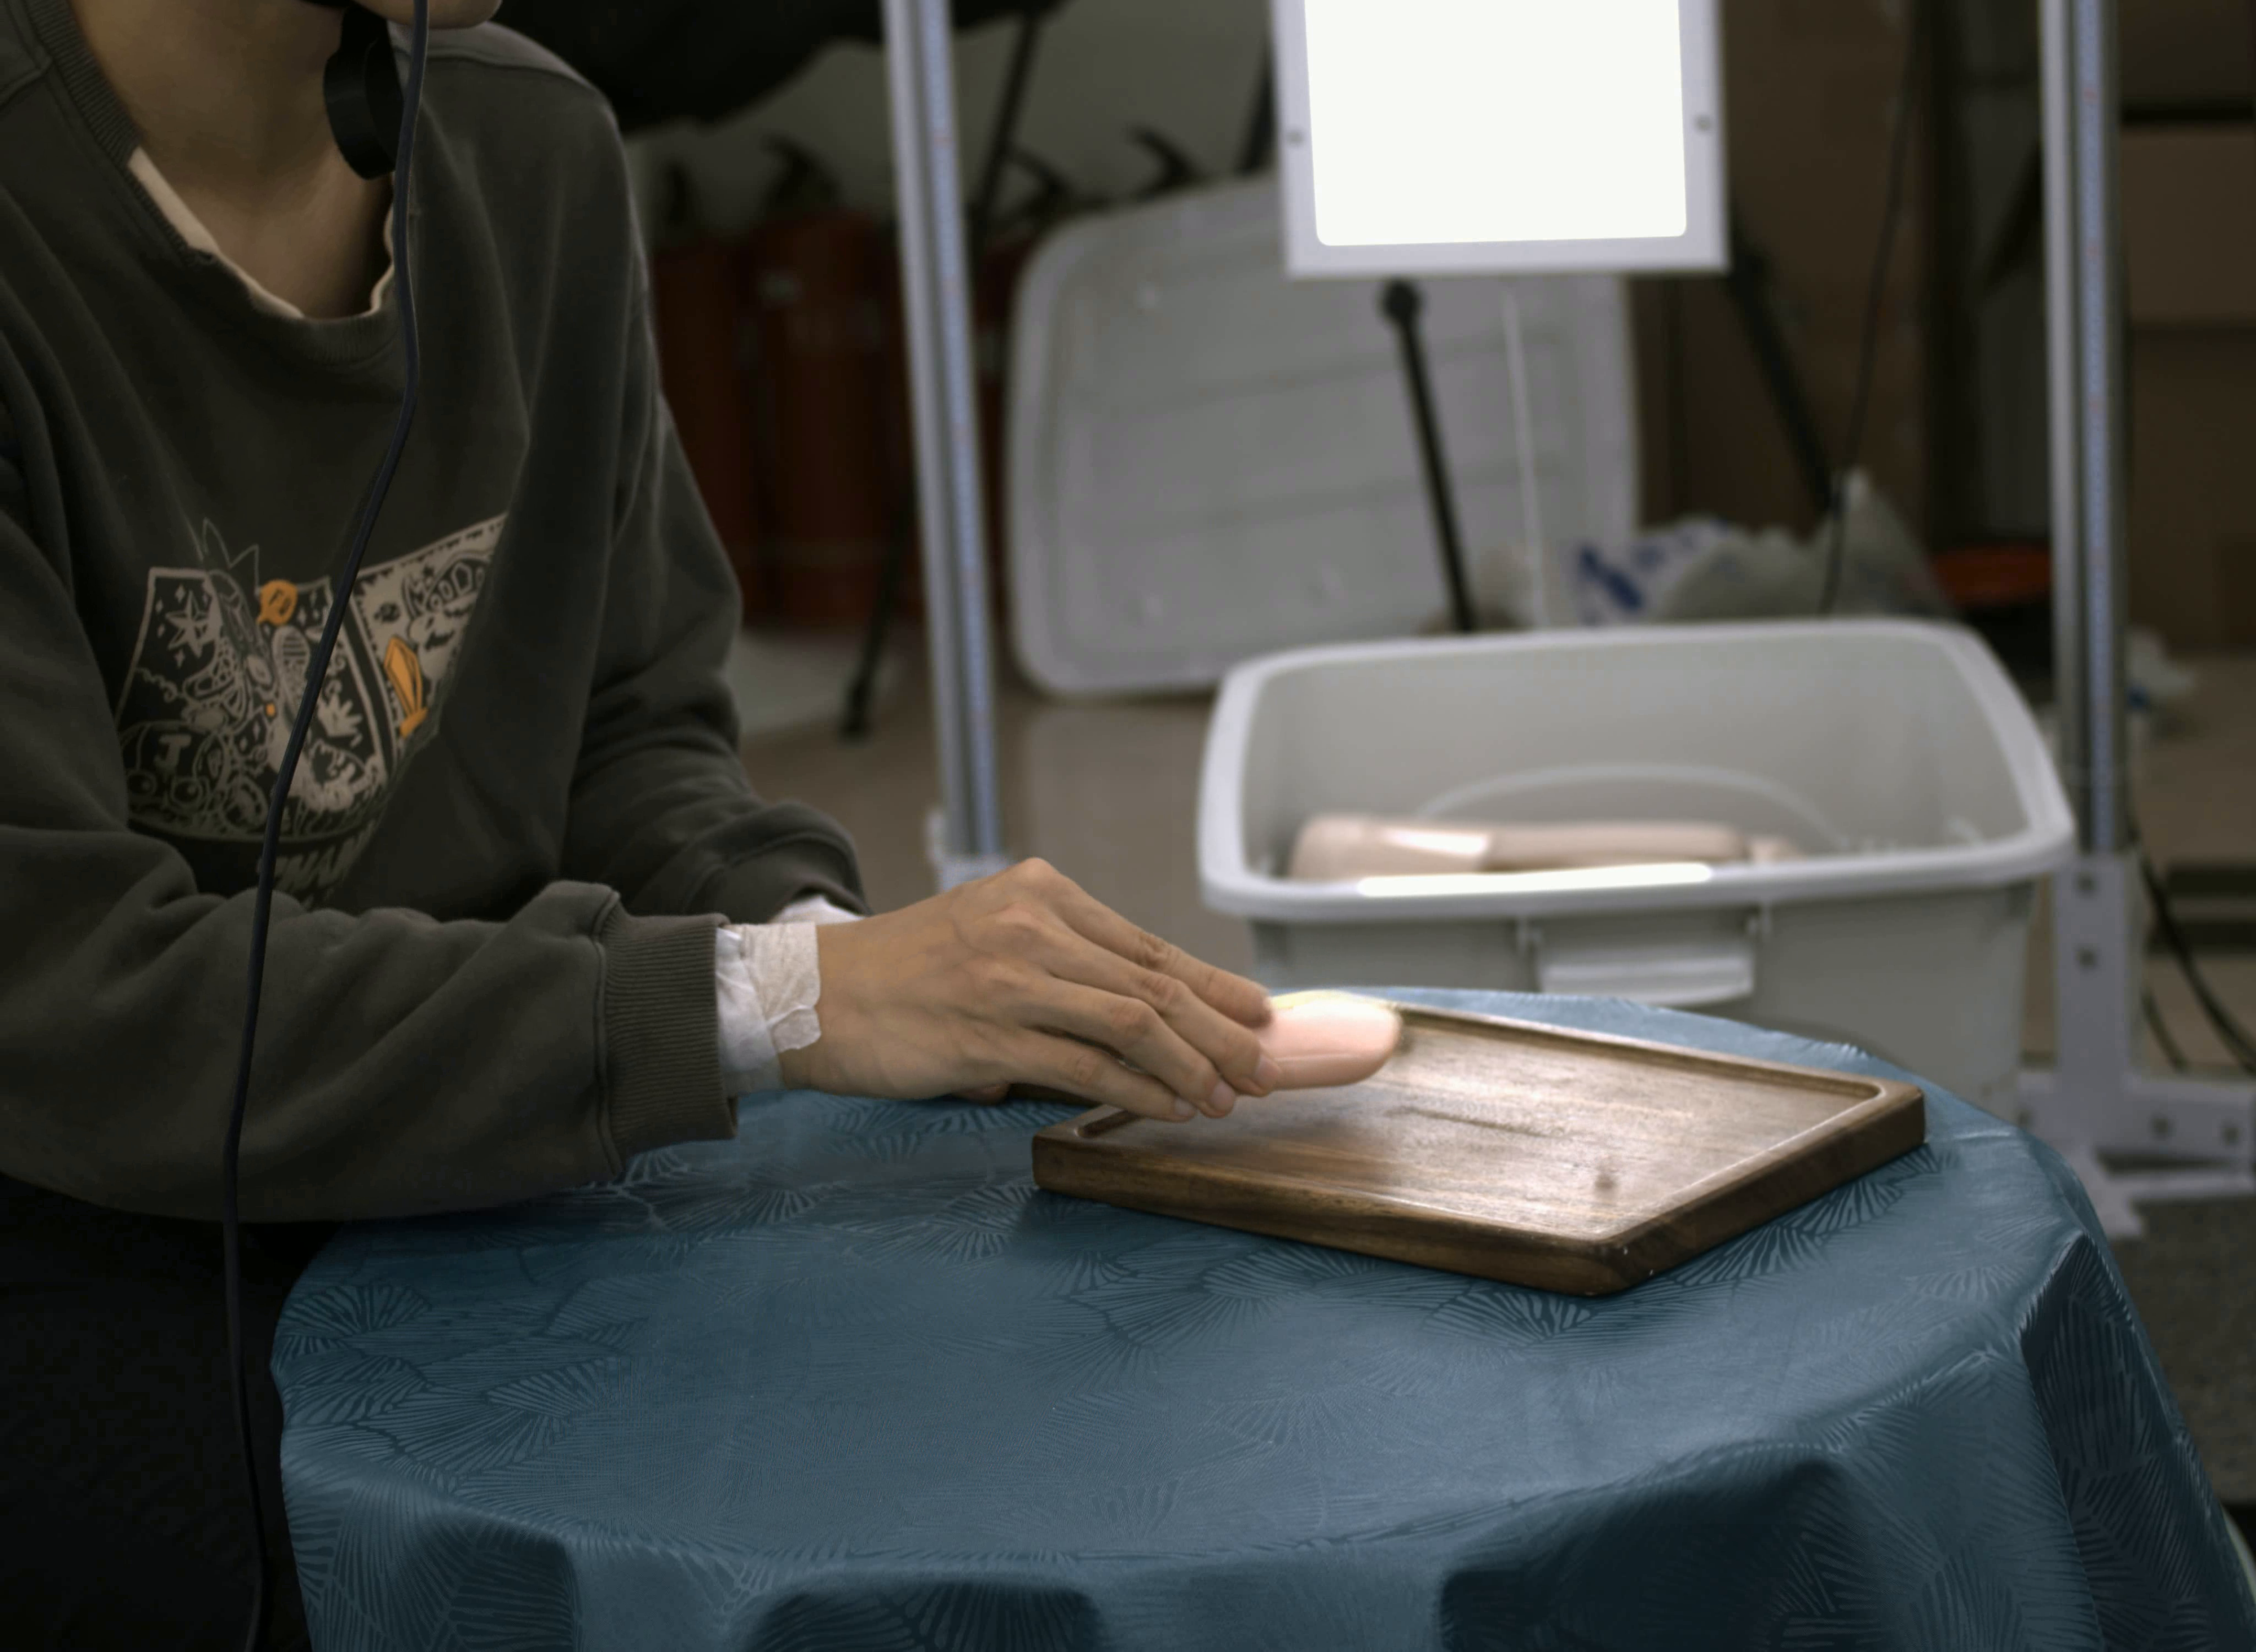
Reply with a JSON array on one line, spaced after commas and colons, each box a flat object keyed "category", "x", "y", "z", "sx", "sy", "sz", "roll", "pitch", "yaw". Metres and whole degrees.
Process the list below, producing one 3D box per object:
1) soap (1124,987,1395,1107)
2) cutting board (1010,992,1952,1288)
[{"category": "soap", "x": 0.046, "y": 0.077, "z": 1.910, "sx": 0.093, "sy": 0.030, "sz": 0.051, "roll": -8, "pitch": 14, "yaw": -16}, {"category": "cutting board", "x": 0.094, "y": 0.099, "z": 1.930, "sx": 0.360, "sy": 0.023, "sz": 0.196, "roll": 8, "pitch": 19, "yaw": 43}]
